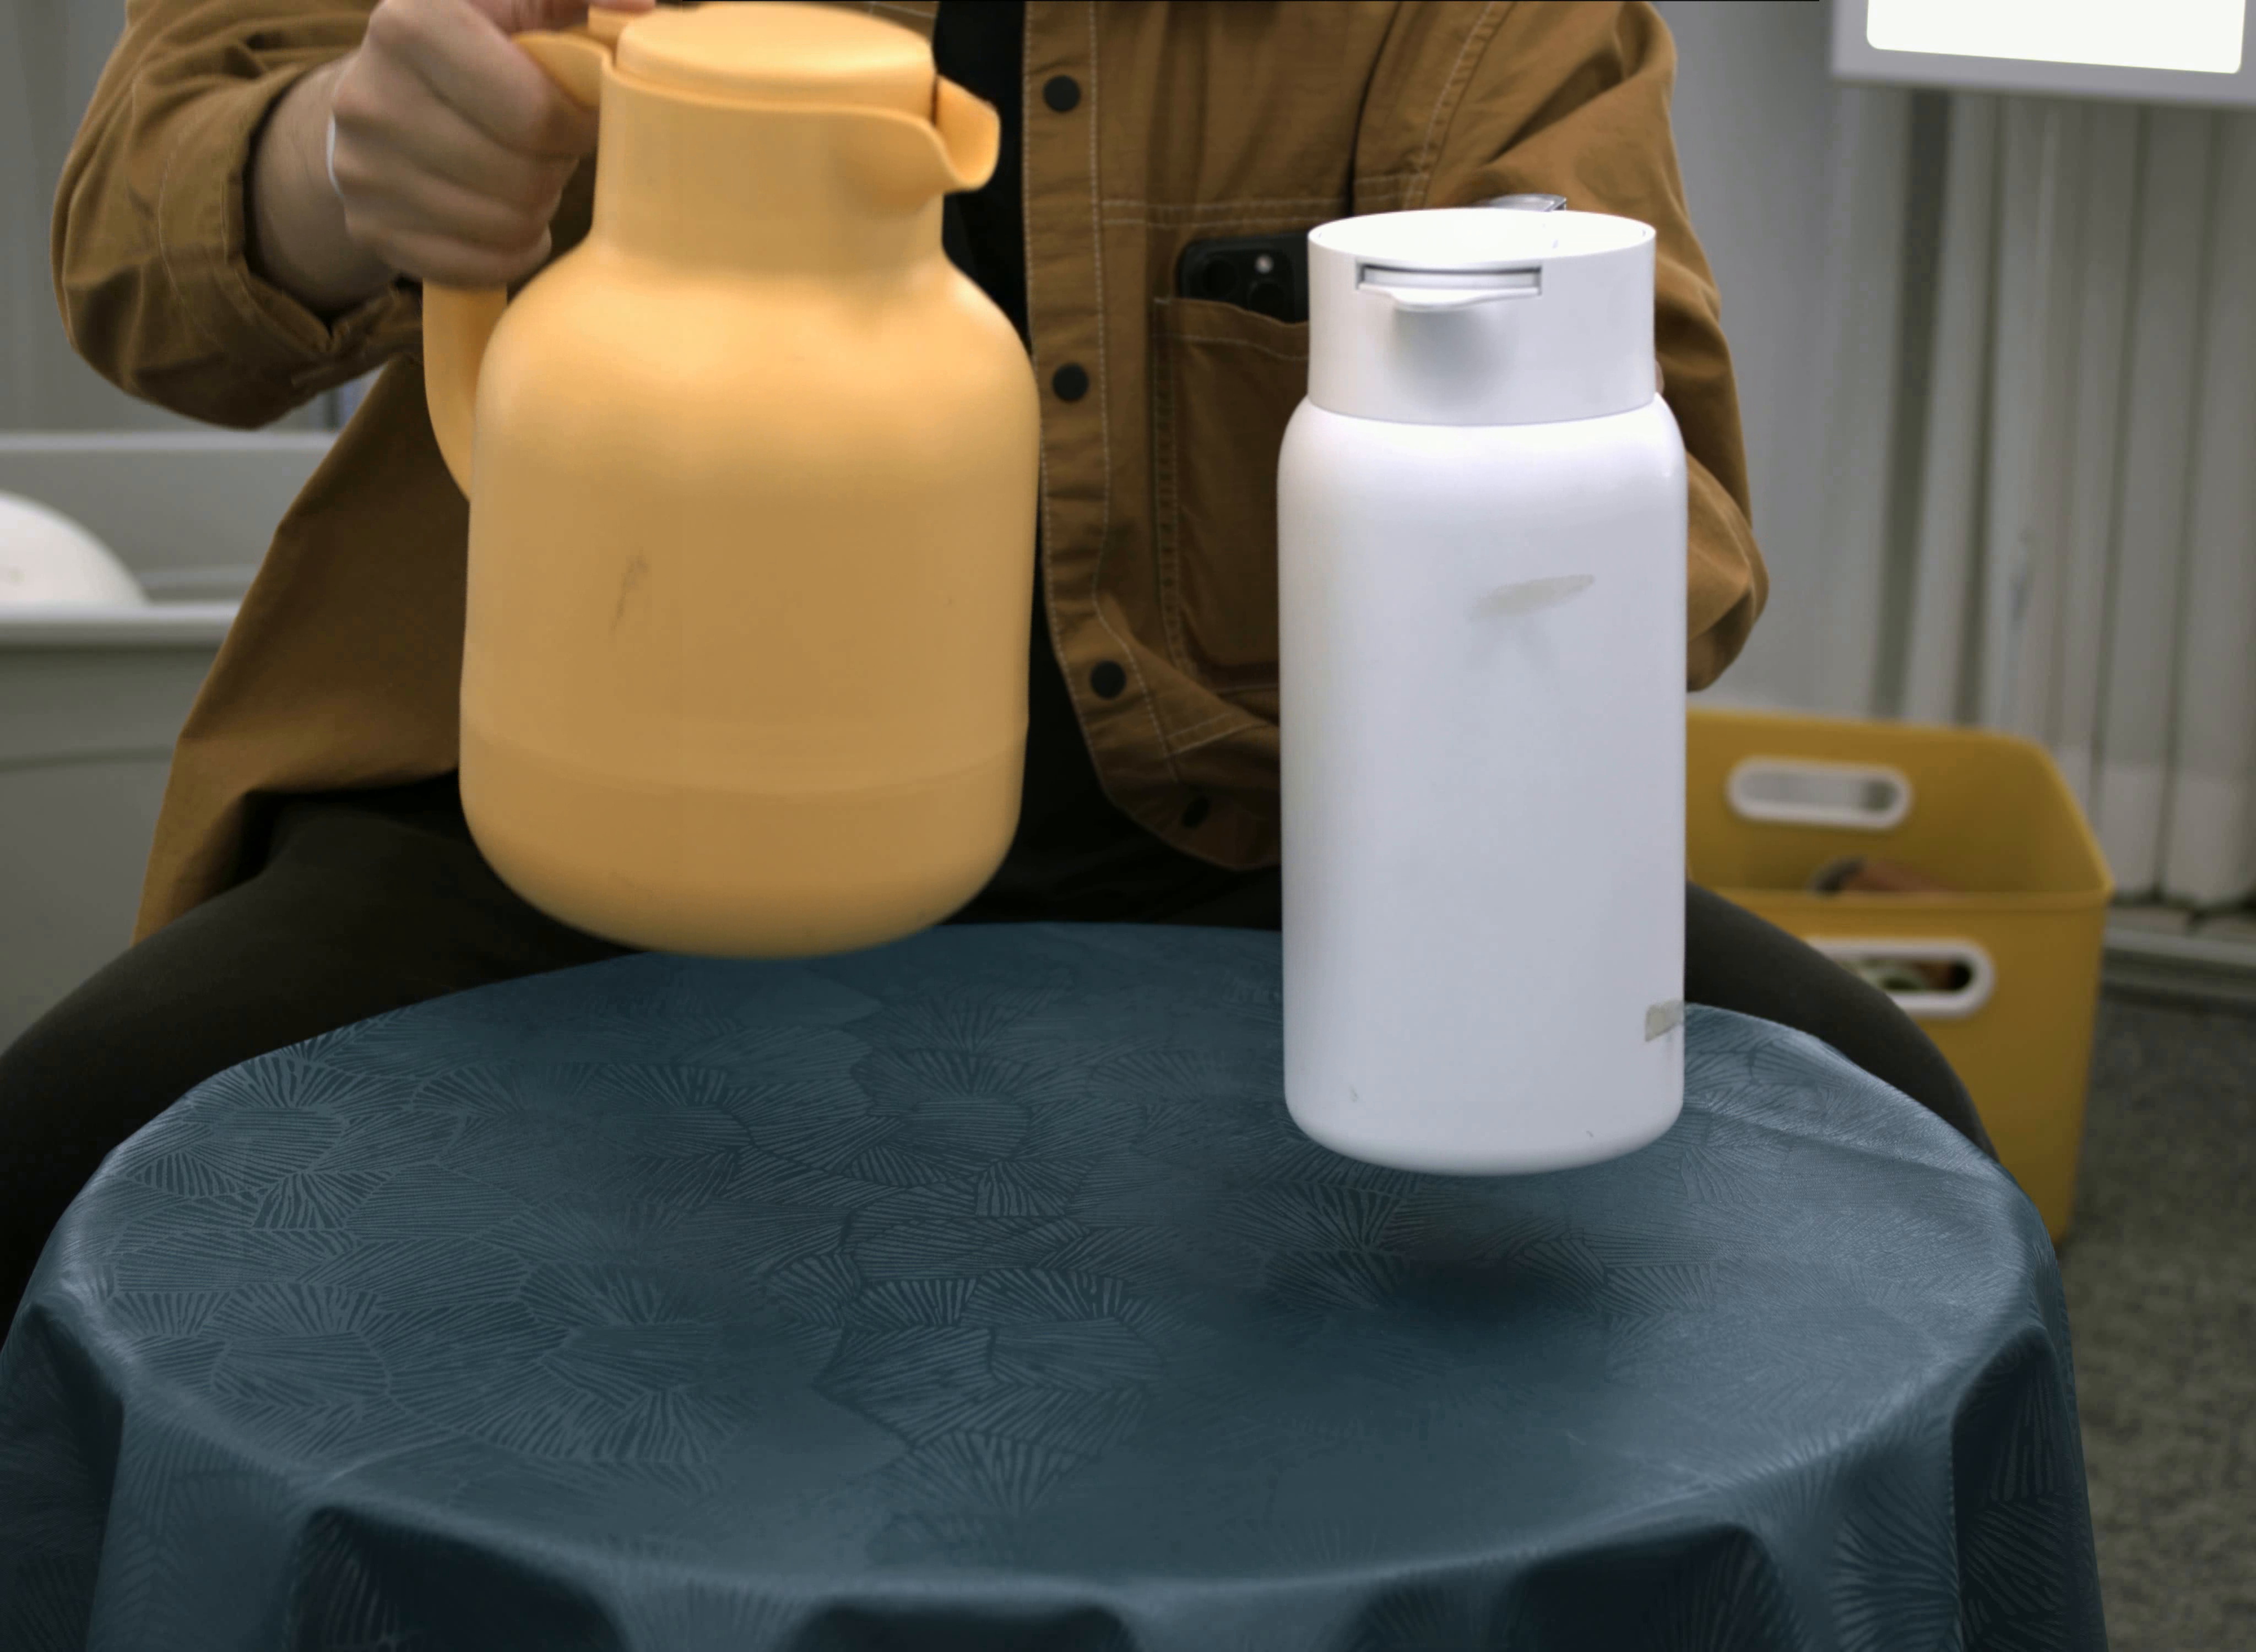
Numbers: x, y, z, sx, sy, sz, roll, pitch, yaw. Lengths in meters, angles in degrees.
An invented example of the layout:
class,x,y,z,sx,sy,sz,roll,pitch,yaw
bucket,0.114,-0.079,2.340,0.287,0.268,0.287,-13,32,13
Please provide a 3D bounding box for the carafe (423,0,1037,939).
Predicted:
class,x,y,z,sx,sy,sz,roll,pitch,yaw
carafe,-0.121,-0.114,1.493,0.199,0.262,0.164,21,22,34

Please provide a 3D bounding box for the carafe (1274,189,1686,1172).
class,x,y,z,sx,sy,sz,roll,pitch,yaw
carafe,0.105,-0.046,1.525,0.123,0.271,0.173,1,15,16
